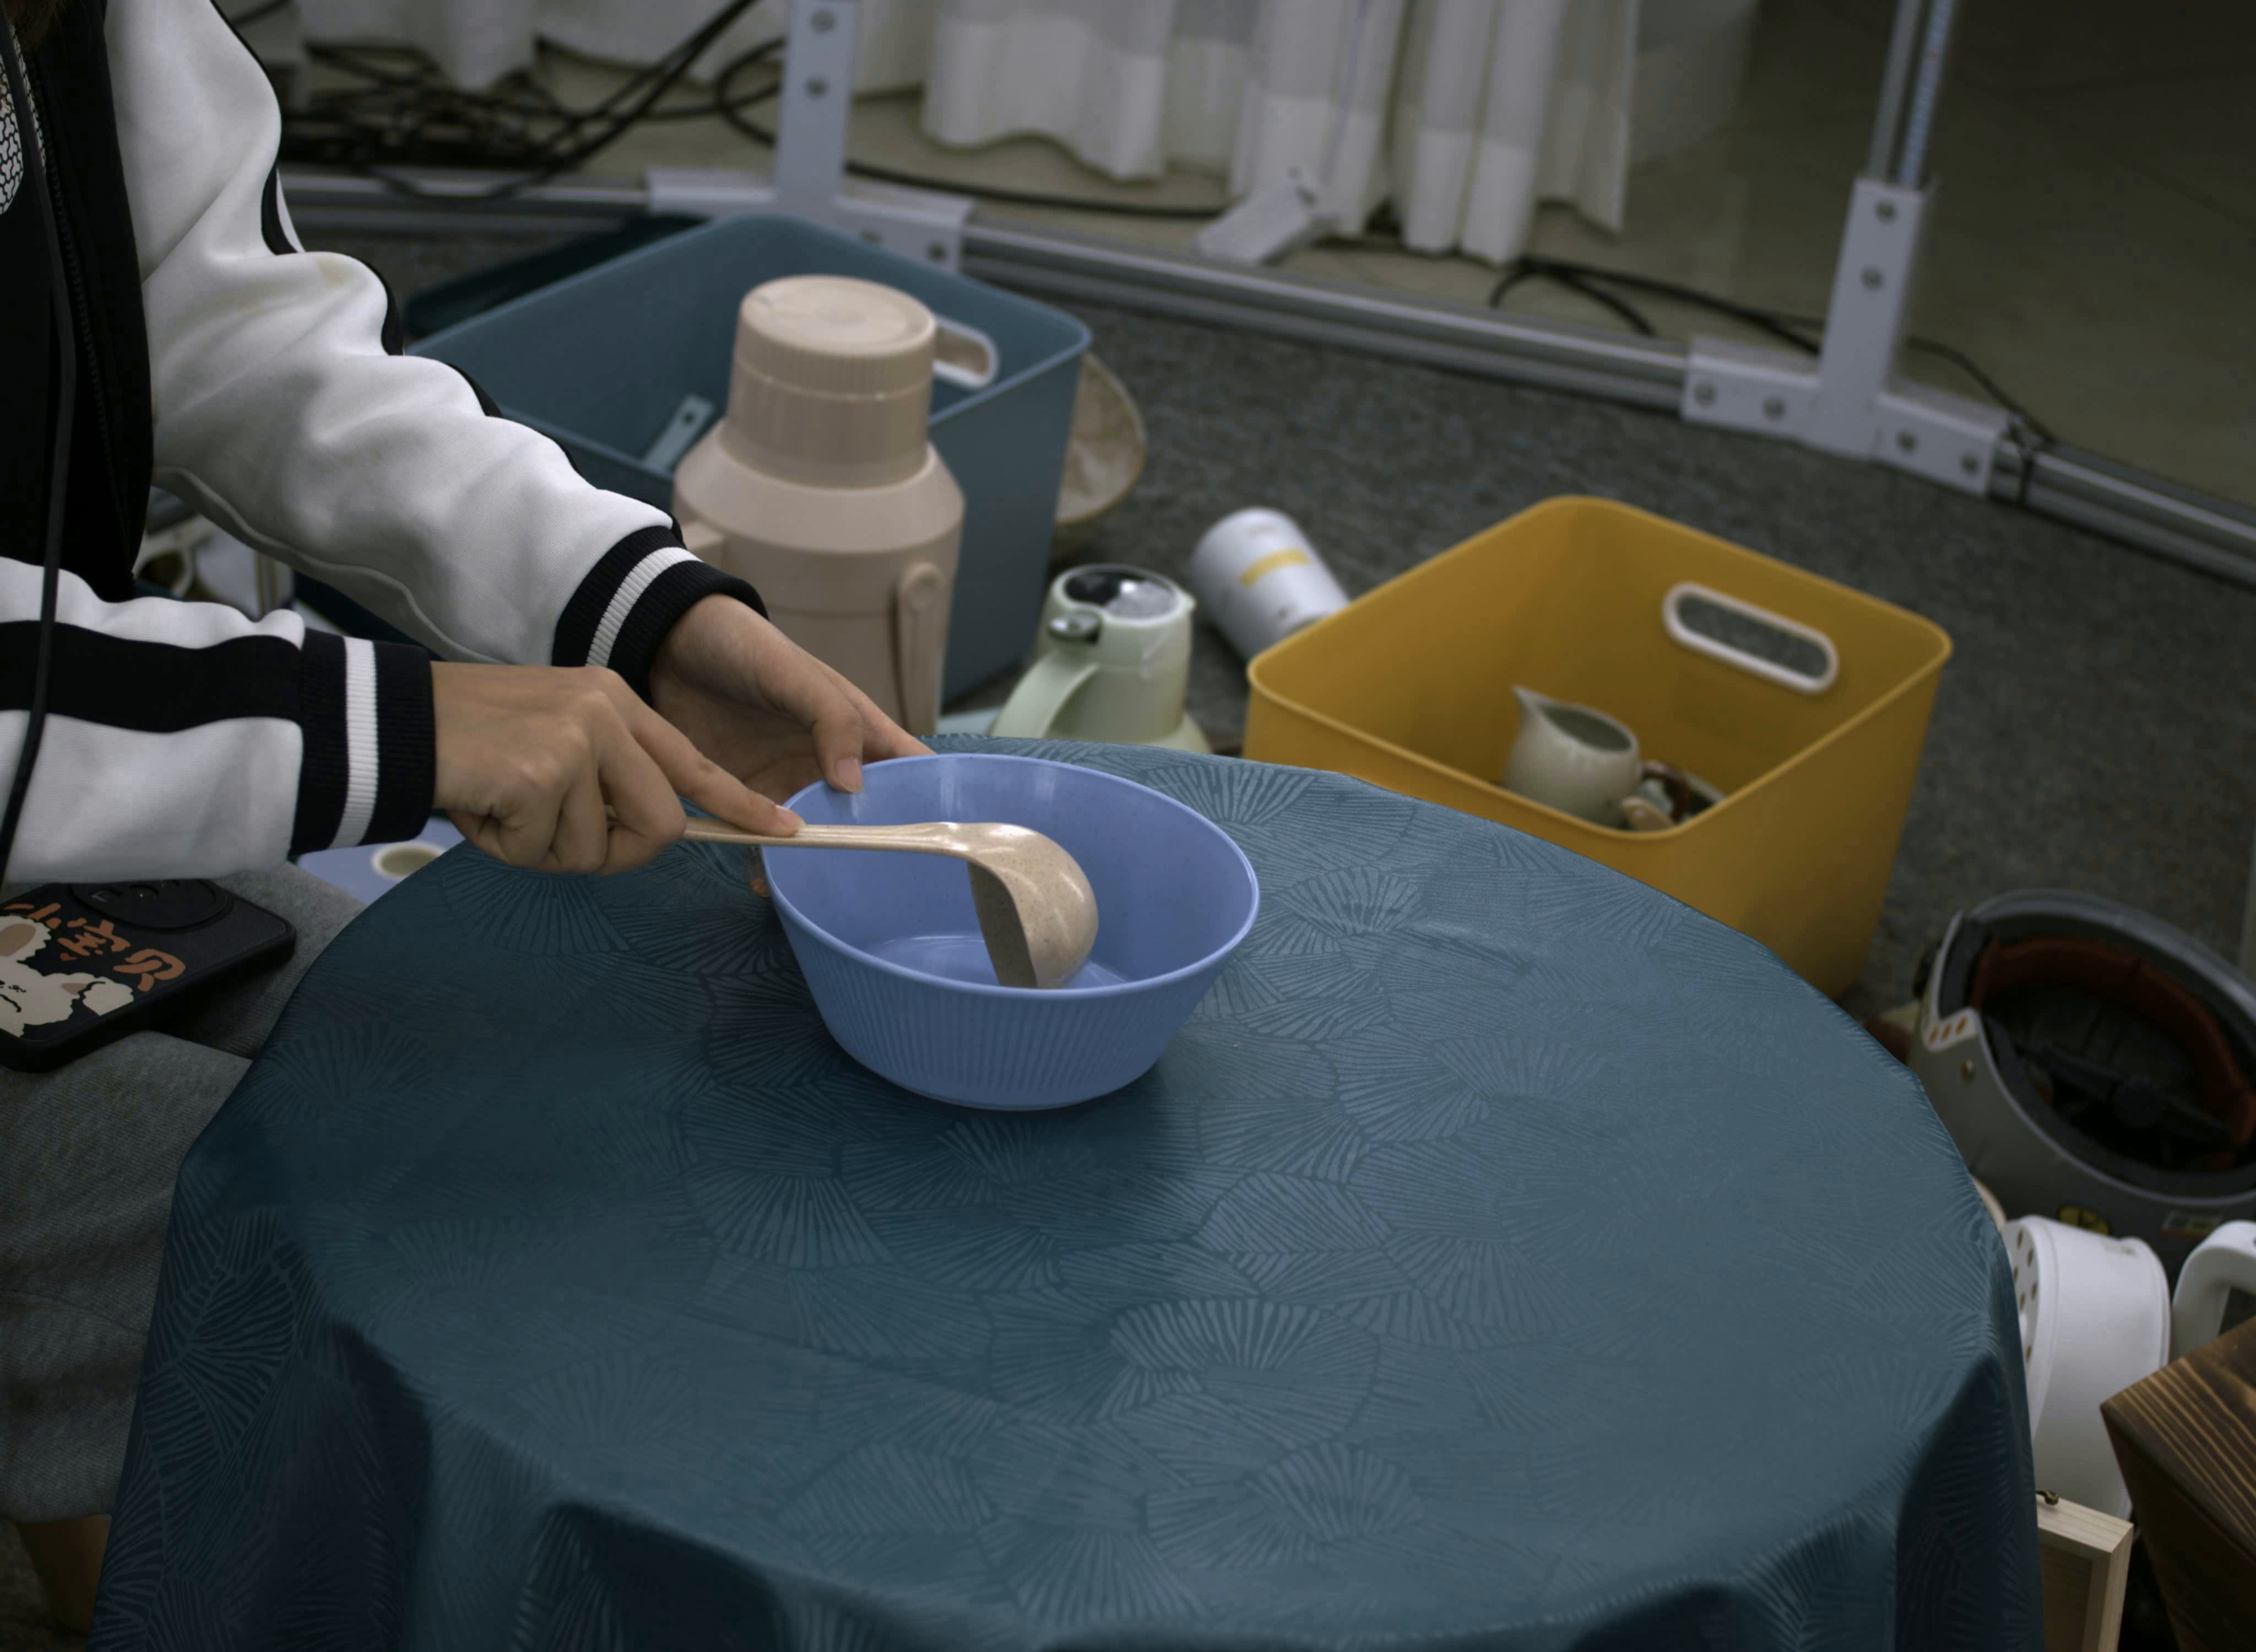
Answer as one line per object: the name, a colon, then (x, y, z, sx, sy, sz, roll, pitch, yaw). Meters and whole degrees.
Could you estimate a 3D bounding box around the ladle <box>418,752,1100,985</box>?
ladle: (-0.131, 0.025, 1.826, 0.252, 0.072, 0.073, 8, 26, -24)

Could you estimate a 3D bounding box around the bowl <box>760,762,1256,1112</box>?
bowl: (-0.045, 0.045, 1.871, 0.175, 0.070, 0.177, 6, 26, -3)
